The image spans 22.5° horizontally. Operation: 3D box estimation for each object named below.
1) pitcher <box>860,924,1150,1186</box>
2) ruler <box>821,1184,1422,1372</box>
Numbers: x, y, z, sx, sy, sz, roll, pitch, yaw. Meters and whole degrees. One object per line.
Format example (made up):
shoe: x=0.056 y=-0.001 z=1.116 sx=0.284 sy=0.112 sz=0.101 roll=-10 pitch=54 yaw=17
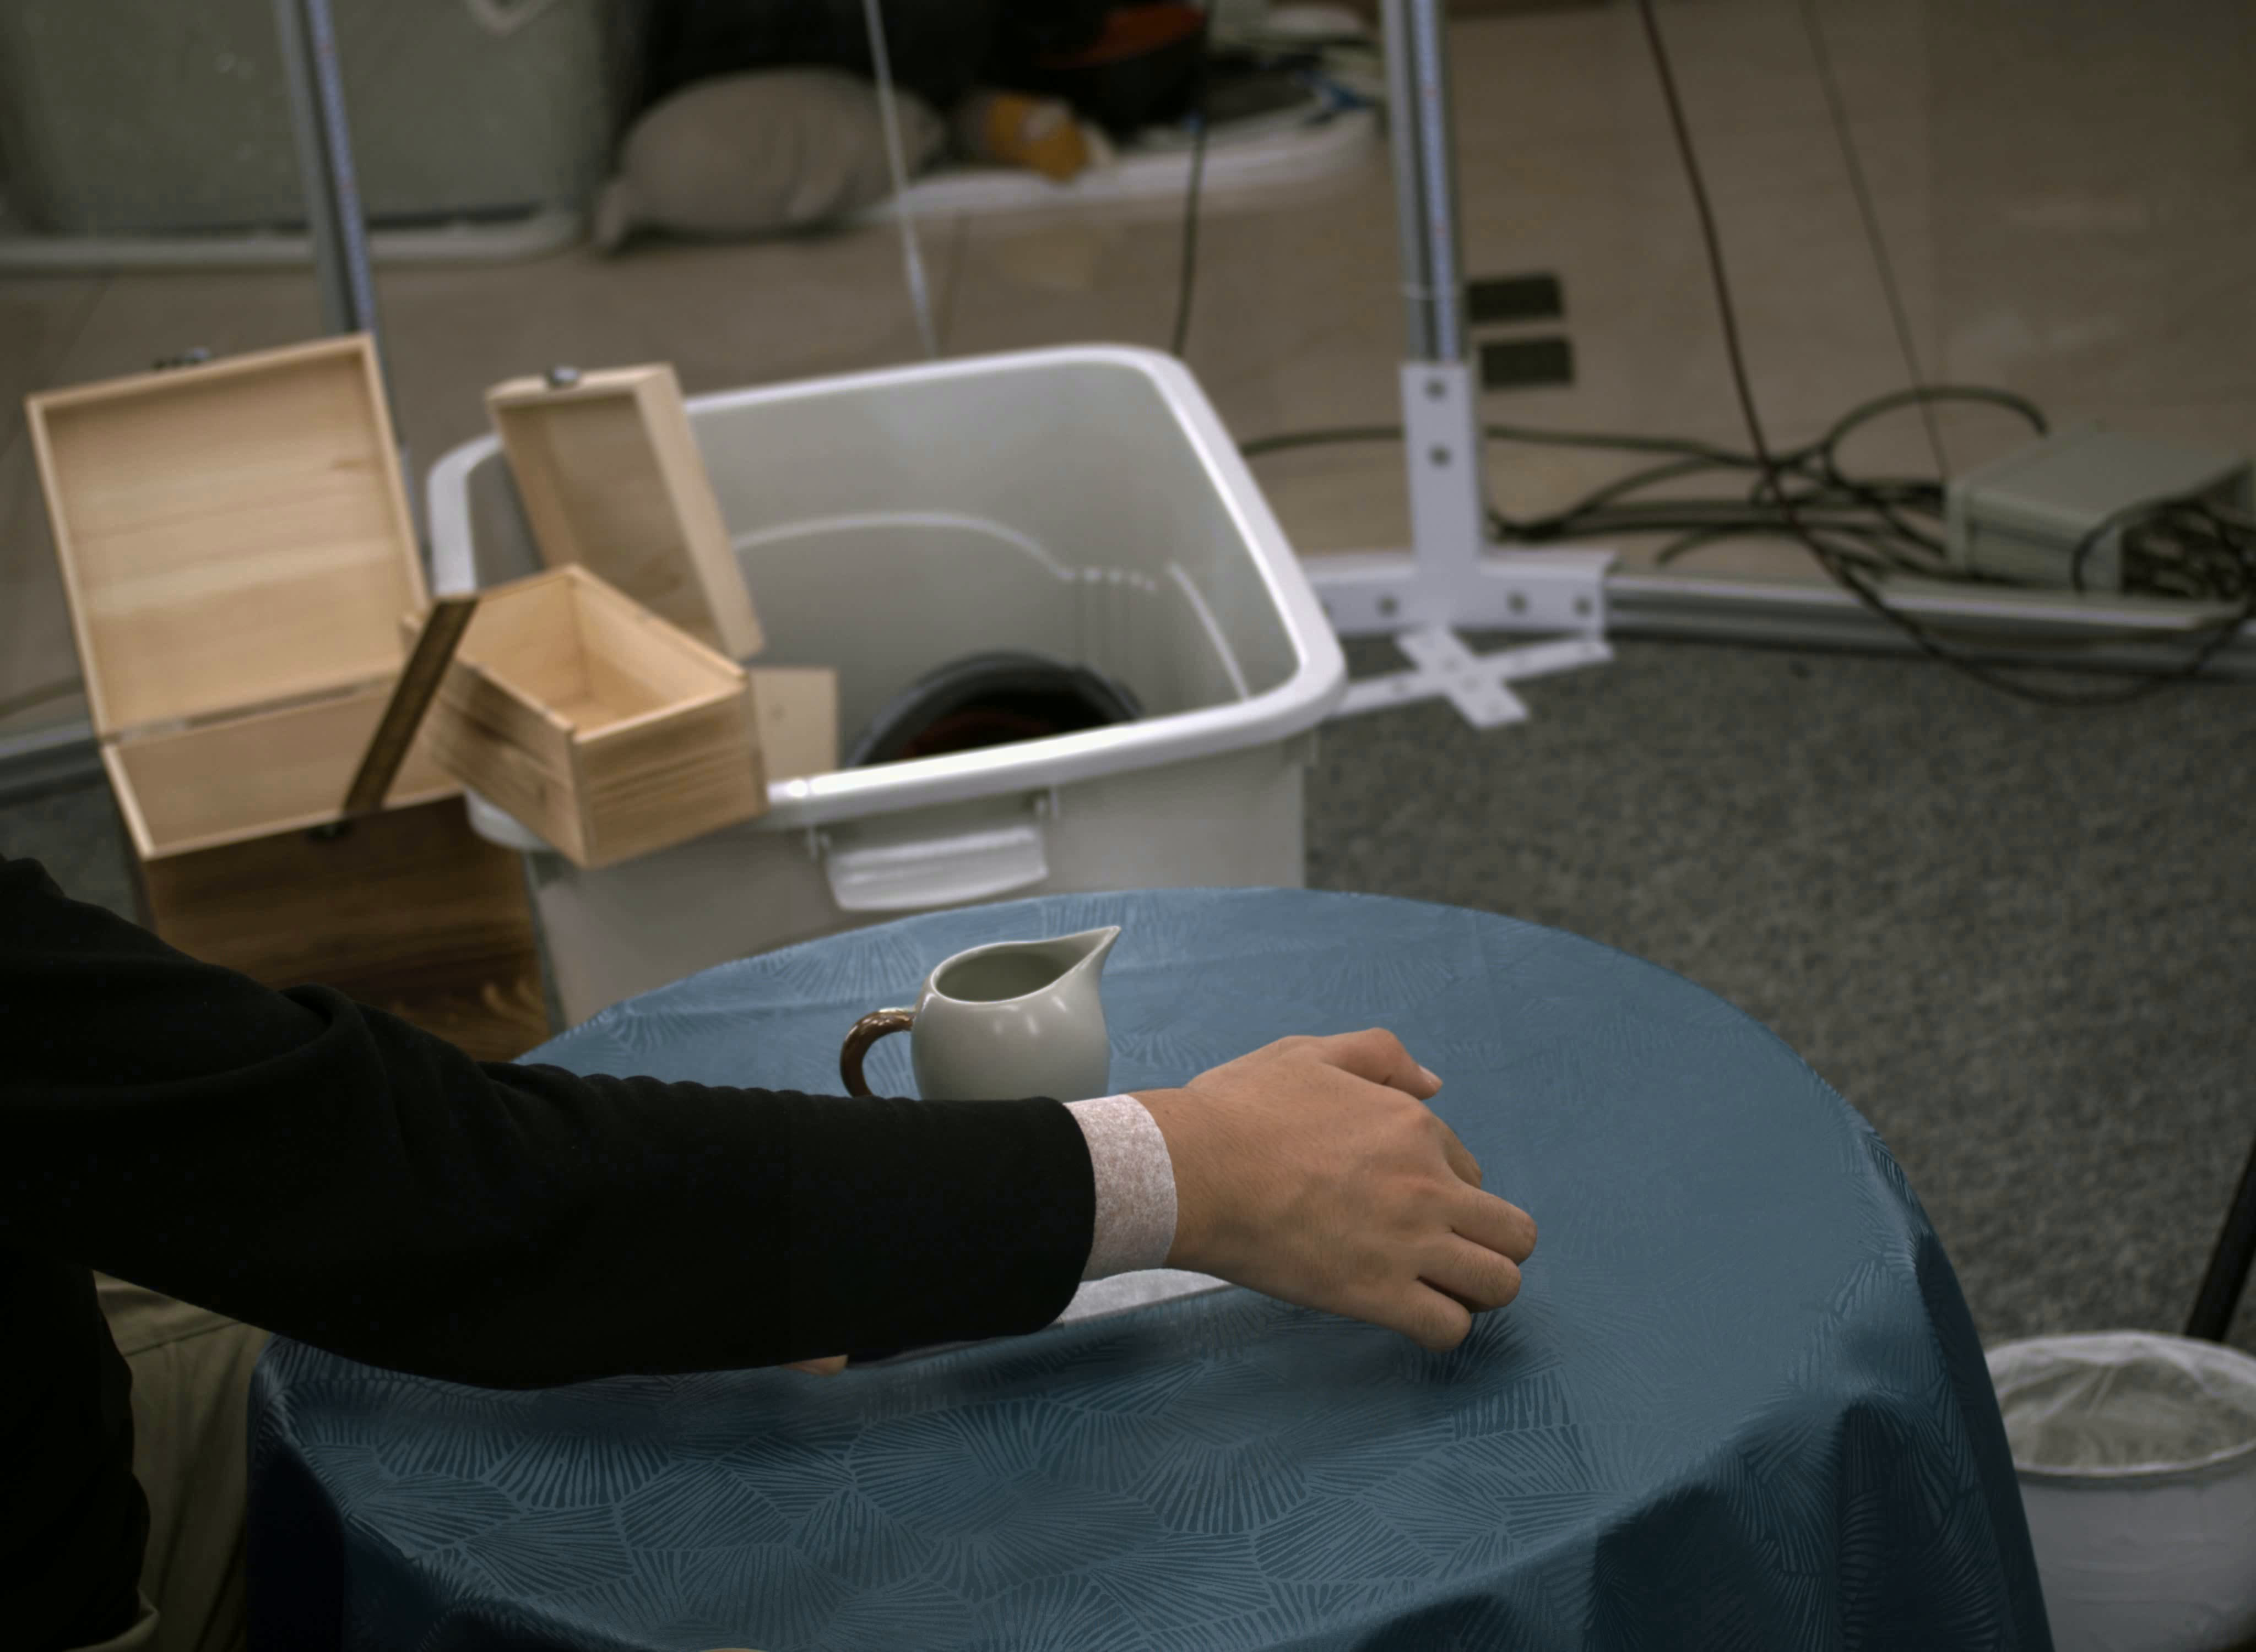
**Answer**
pitcher: x=-0.043 y=0.090 z=2.159 sx=0.119 sy=0.089 sz=0.075 roll=-12 pitch=23 yaw=-14
ruler: x=-0.004 y=0.155 z=2.032 sx=0.217 sy=0.024 sz=0.038 roll=-12 pitch=33 yaw=-9
